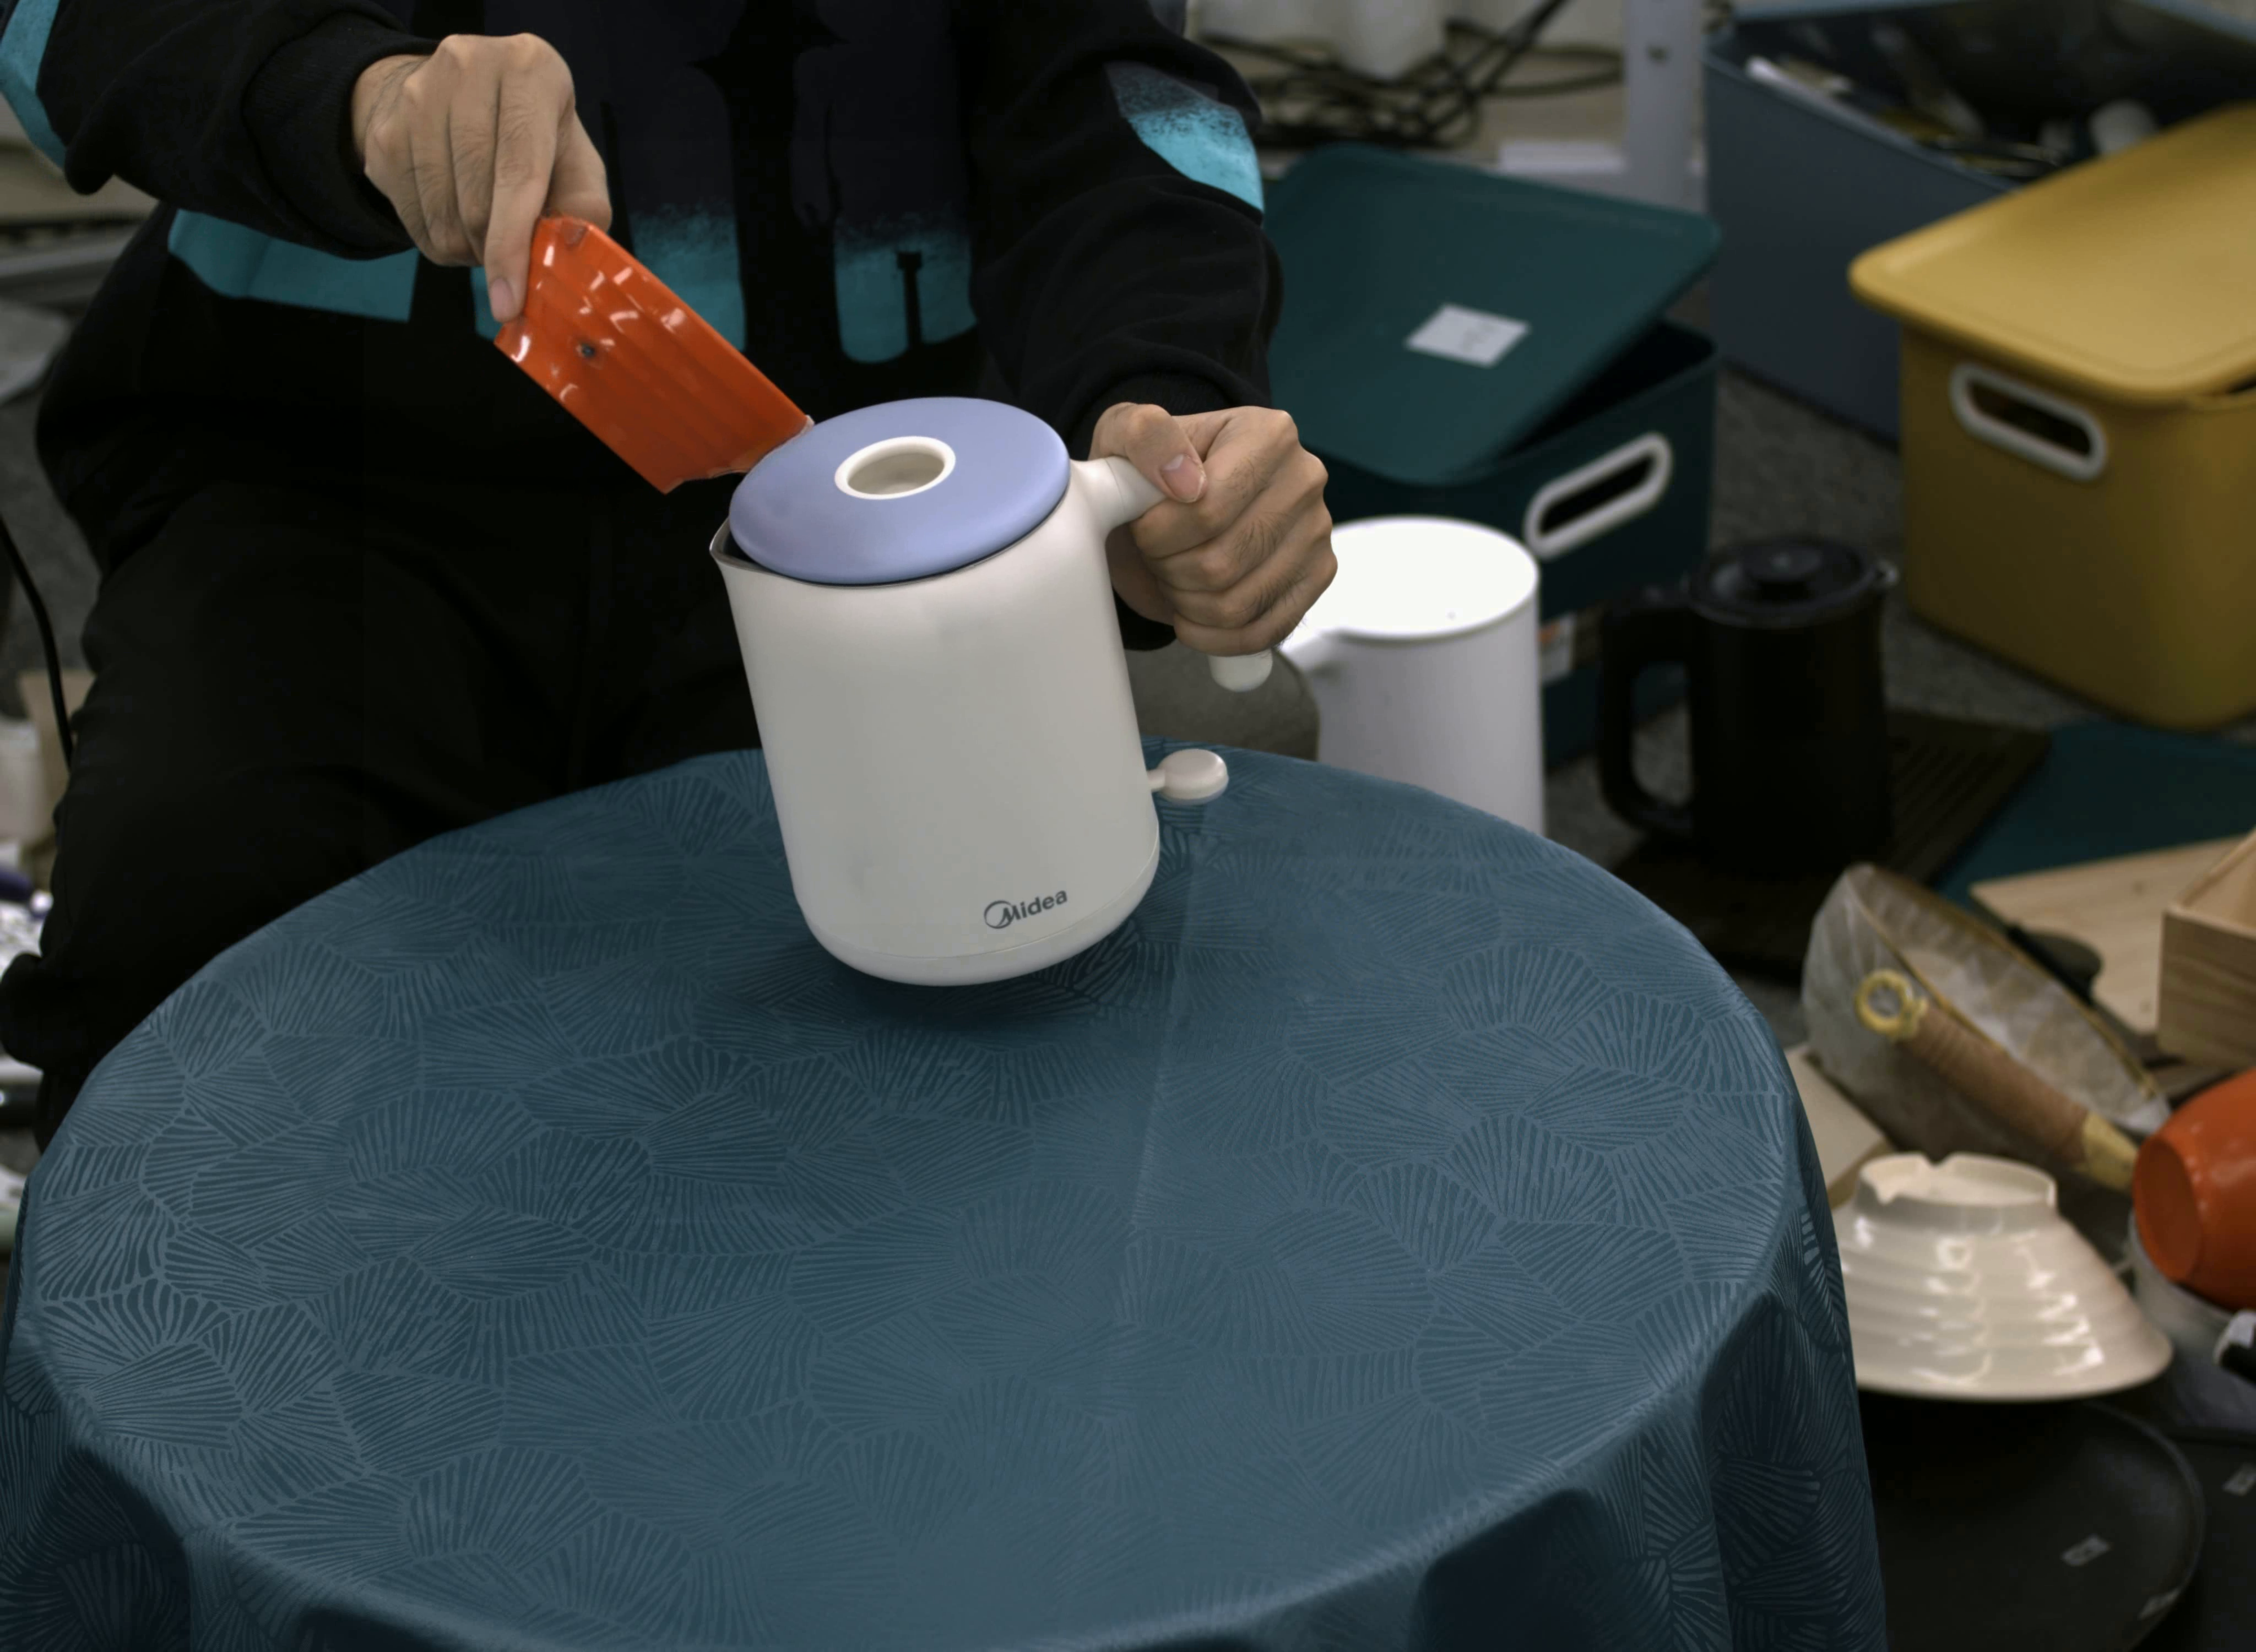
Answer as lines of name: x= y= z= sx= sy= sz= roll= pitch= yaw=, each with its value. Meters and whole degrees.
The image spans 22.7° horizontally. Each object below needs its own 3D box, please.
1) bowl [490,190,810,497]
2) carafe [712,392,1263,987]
bowl: x=-0.164 y=-0.151 z=1.842 sx=0.051 sy=0.118 sz=0.119 roll=-50 pitch=36 yaw=2
carafe: x=-0.043 y=-0.055 z=1.962 sx=0.191 sy=0.180 sz=0.133 roll=-17 pitch=33 yaw=-15
